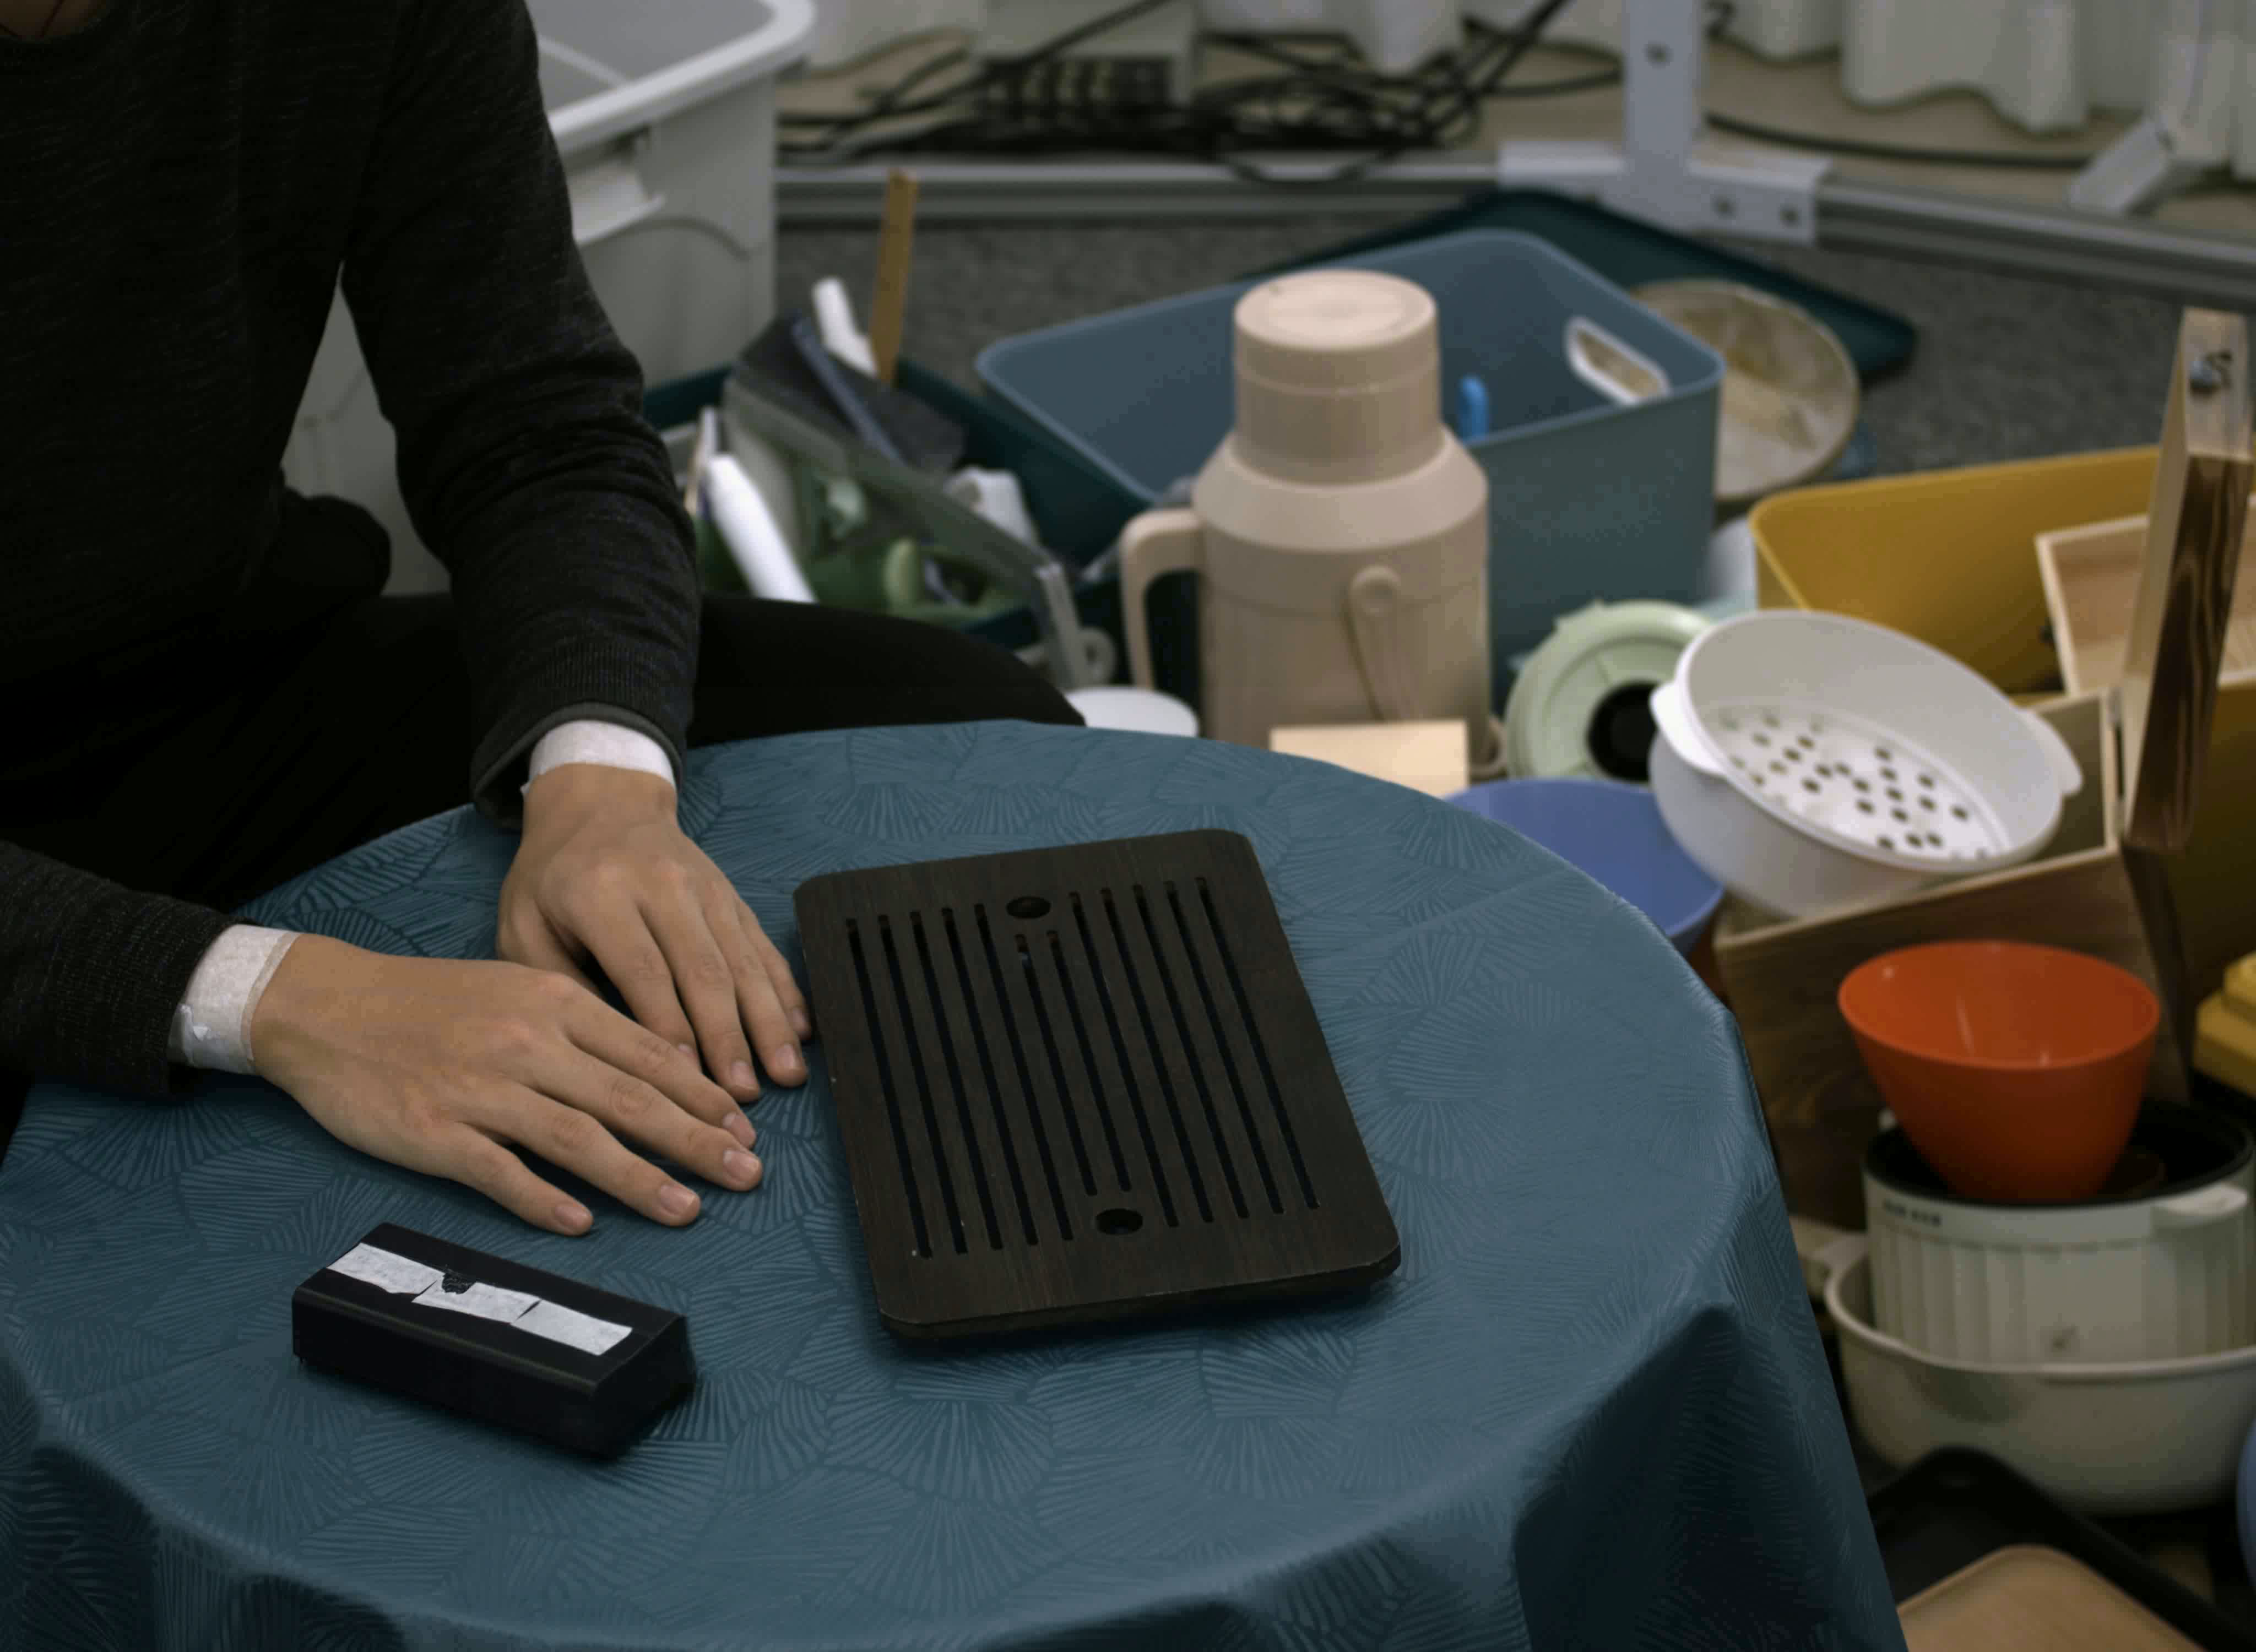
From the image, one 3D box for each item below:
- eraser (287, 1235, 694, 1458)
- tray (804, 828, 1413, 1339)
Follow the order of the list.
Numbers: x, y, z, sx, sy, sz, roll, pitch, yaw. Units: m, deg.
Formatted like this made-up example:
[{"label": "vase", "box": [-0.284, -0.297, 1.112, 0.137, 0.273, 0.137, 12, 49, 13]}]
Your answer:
[{"label": "eraser", "box": [-0.200, 0.164, 1.769, 0.125, 0.030, 0.054, 12, 28, 29]}, {"label": "tray", "box": [-0.013, 0.085, 1.914, 0.170, 0.018, 0.310, -7, 27, -6]}]
